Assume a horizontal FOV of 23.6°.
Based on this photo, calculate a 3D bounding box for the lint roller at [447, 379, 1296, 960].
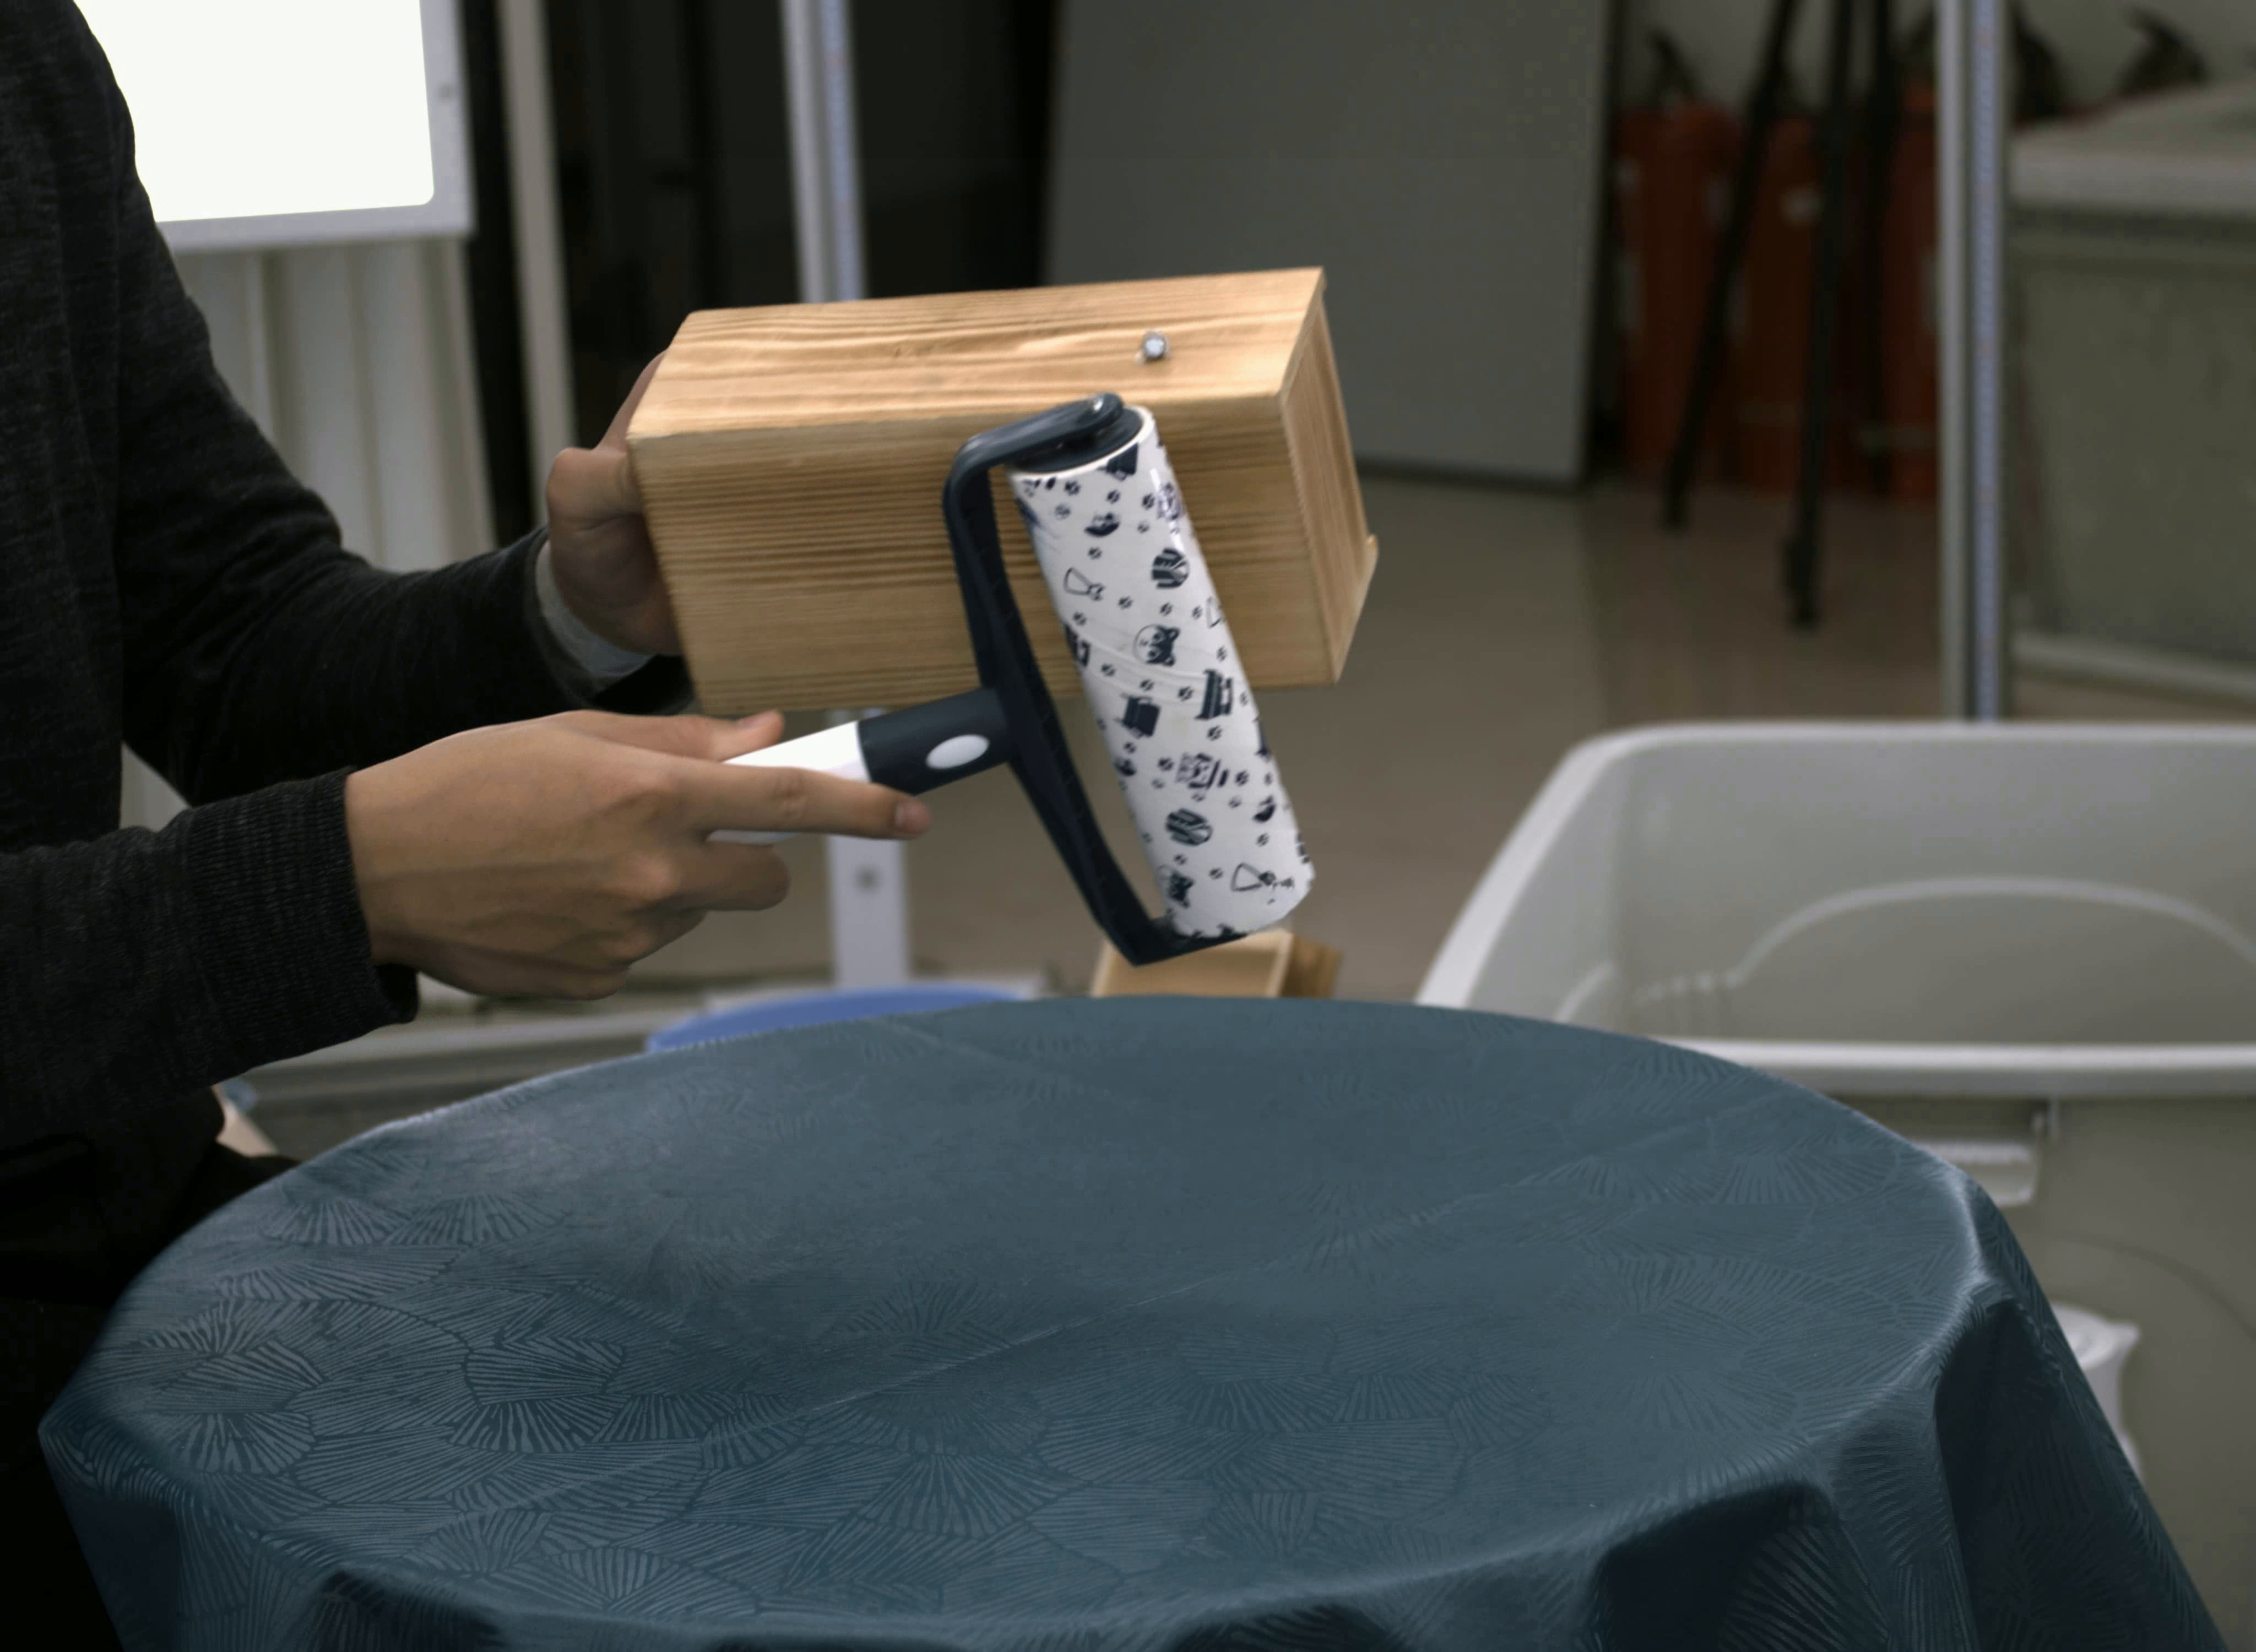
[{"bbox_3d":[-0.087,-0.014,1.613,0.245,0.177,0.050,-20,24,5],"label":"lint roller"}]

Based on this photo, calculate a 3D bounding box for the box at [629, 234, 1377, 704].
[{"bbox_3d":[-0.037,-0.110,1.689,0.210,0.108,0.080,-3,32,17],"label":"box"}]
